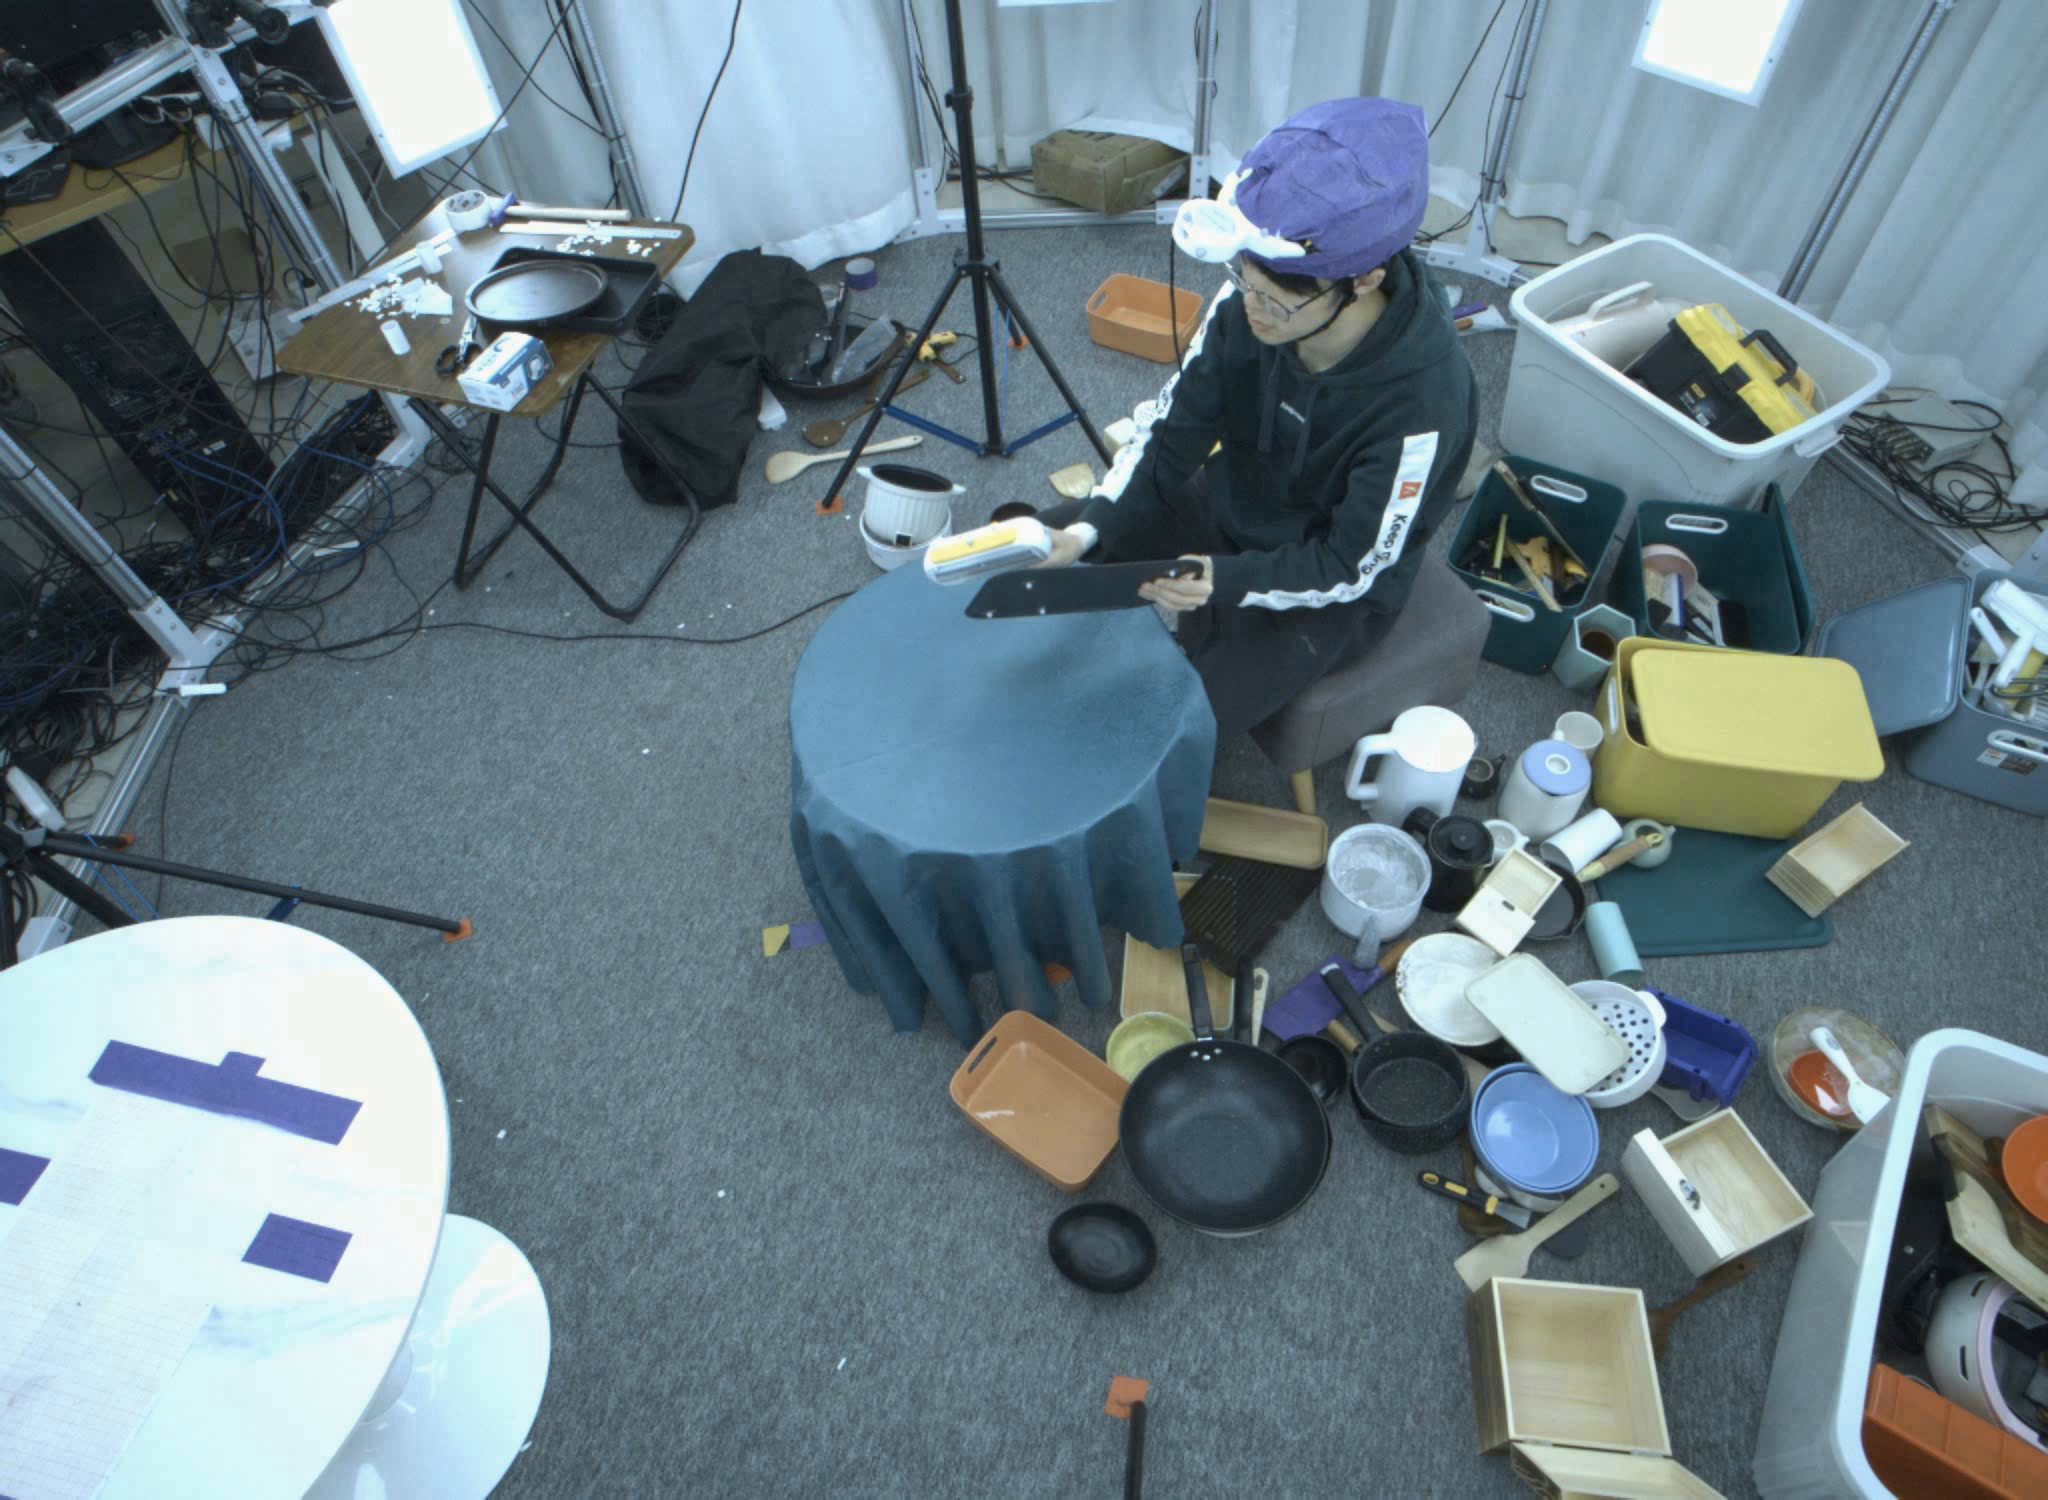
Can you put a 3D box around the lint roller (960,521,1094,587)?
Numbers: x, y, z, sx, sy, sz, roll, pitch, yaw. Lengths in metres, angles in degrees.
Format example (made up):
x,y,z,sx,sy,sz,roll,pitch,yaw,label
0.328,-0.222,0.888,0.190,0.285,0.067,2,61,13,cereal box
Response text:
x,y,z,sx,sy,sz,roll,pitch,yaw,label
0.028,-0.262,1.736,0.190,0.196,0.074,-11,75,26,lint roller

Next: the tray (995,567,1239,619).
x,y,z,sx,sy,sz,roll,pitch,yaw,label
0.132,-0.213,1.683,0.329,0.209,0.010,-4,81,-17,tray
